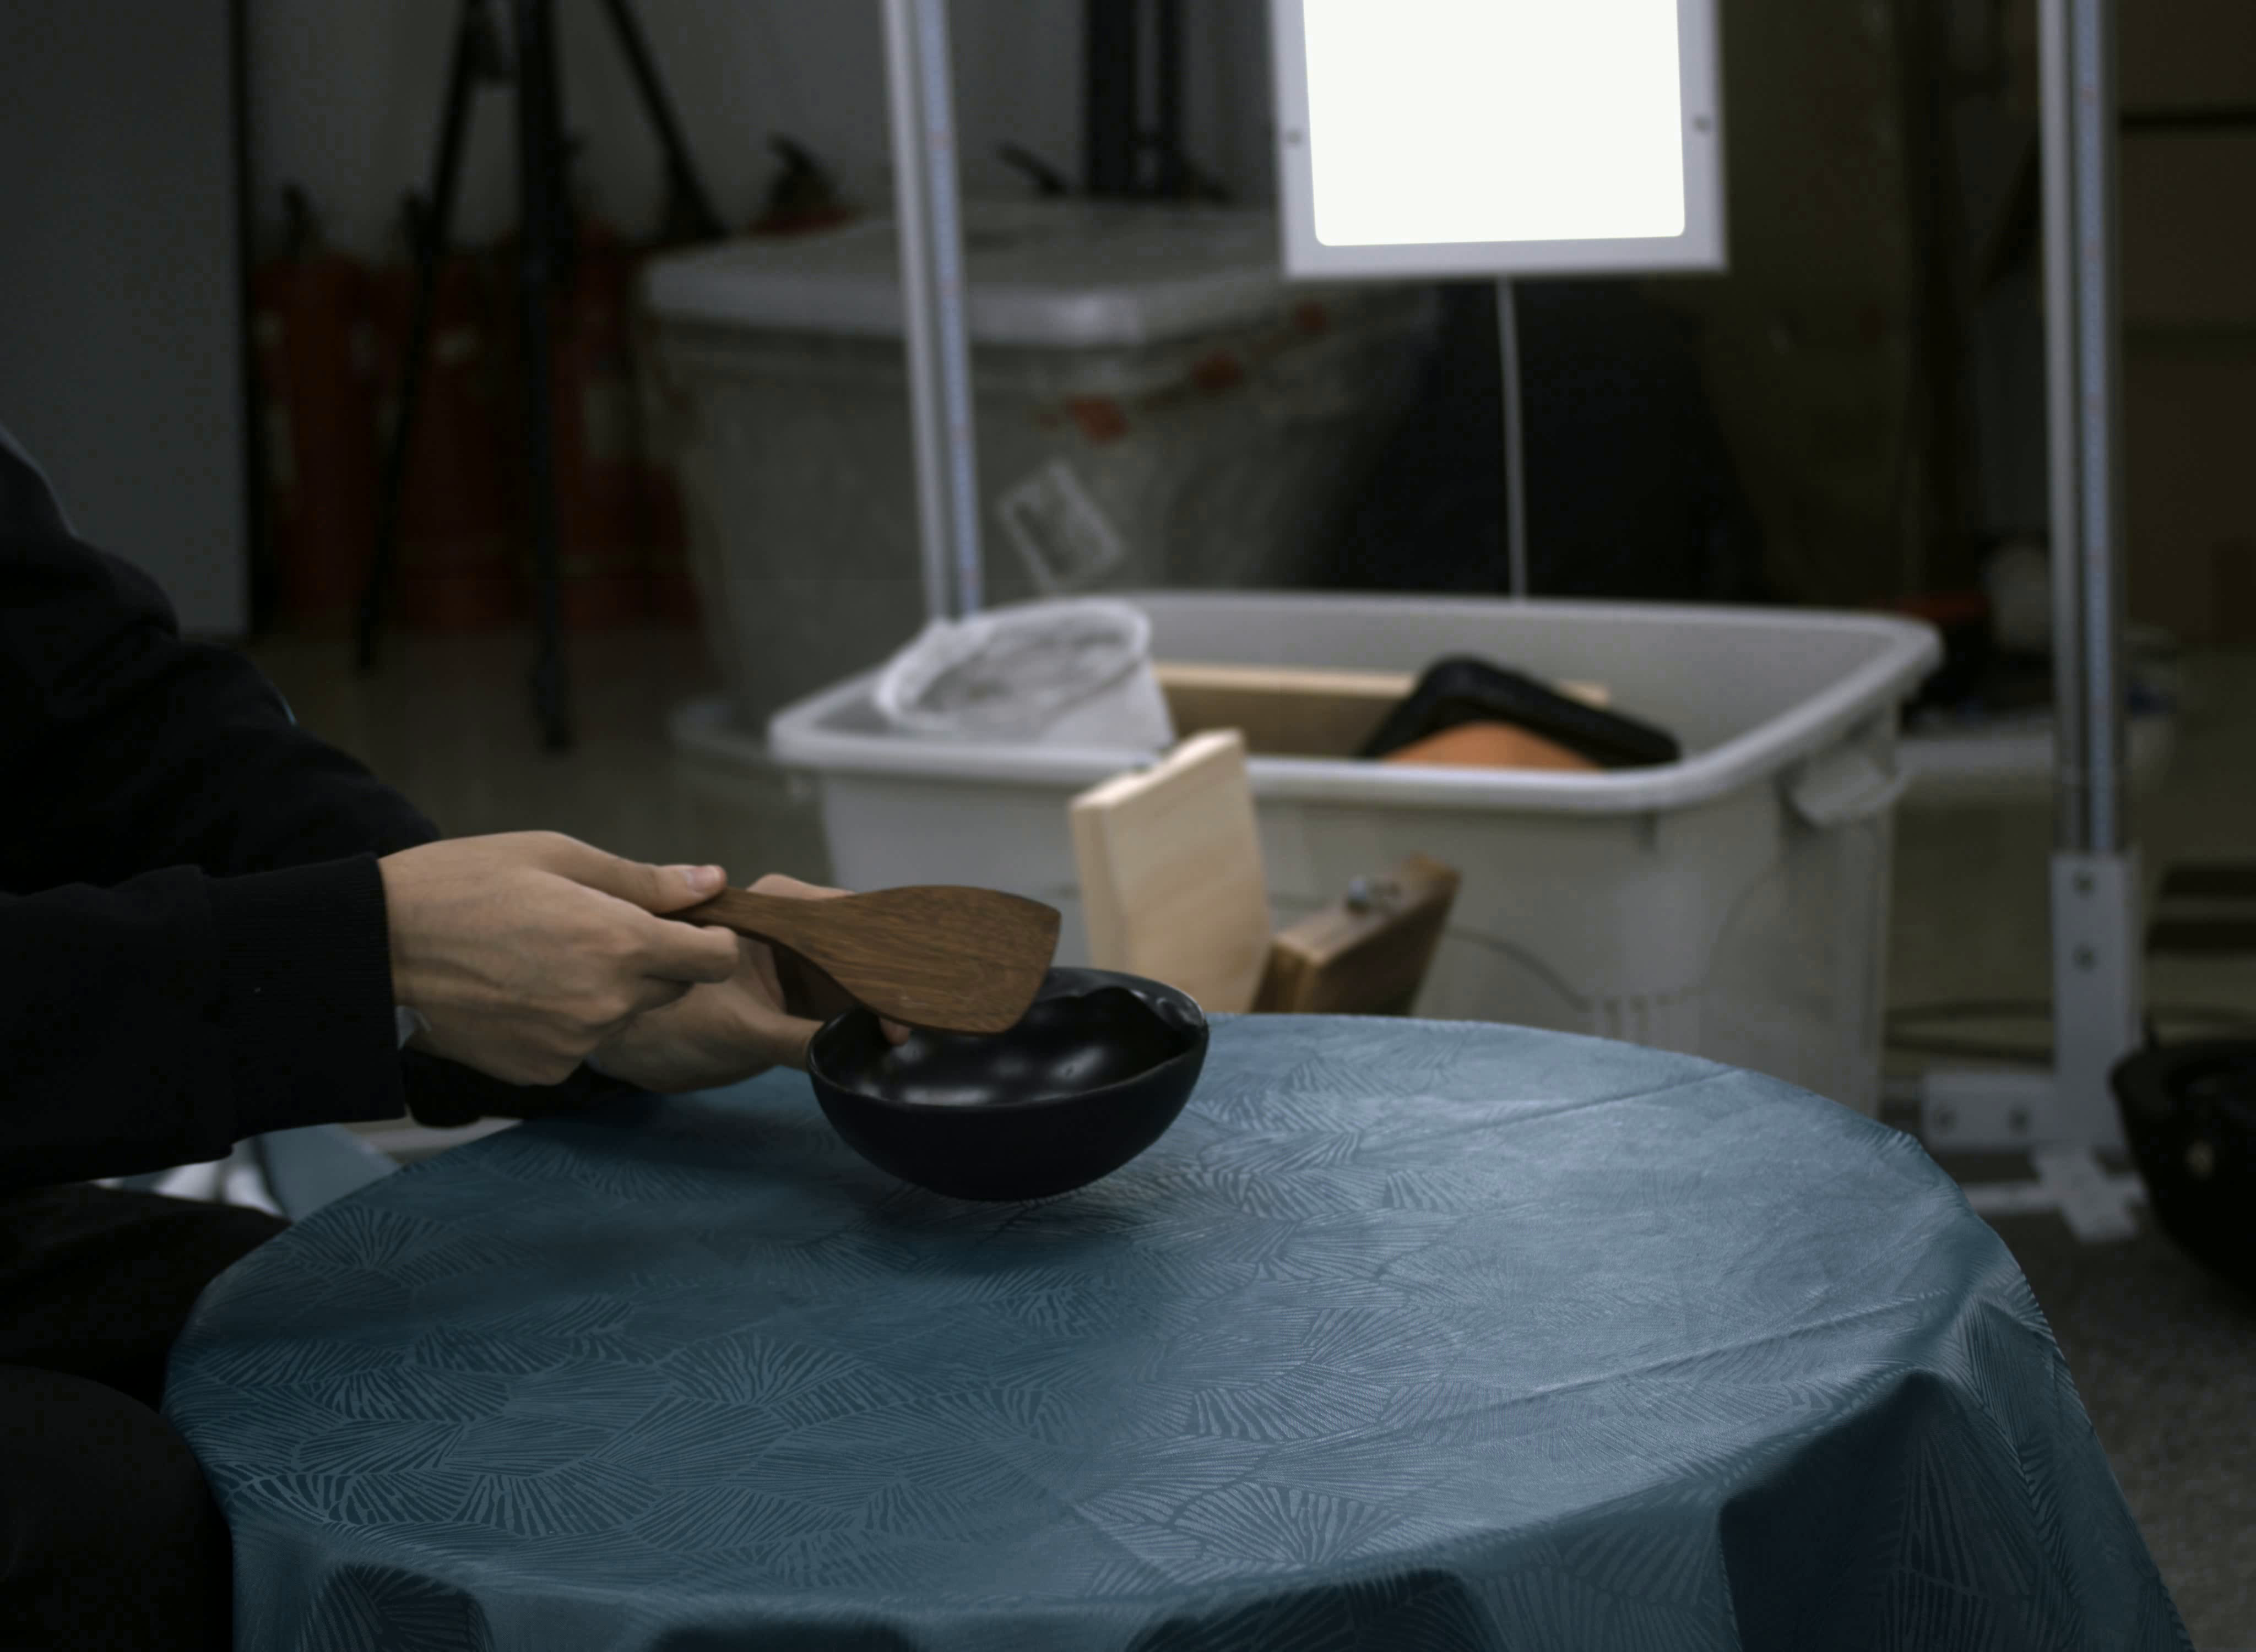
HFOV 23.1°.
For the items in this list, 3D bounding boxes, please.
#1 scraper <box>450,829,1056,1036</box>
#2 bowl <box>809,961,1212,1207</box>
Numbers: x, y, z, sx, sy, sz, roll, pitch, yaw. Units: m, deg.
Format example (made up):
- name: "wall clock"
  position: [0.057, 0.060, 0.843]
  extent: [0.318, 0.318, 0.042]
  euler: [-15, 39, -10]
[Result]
- name: "scraper"
  position: [-0.130, 0.030, 1.882]
  extent: [0.213, 0.011, 0.075]
  euler: [11, 42, 12]
- name: "bowl"
  position: [-0.038, 0.094, 1.895]
  extent: [0.140, 0.050, 0.140]
  euler: [-6, 20, 1]
